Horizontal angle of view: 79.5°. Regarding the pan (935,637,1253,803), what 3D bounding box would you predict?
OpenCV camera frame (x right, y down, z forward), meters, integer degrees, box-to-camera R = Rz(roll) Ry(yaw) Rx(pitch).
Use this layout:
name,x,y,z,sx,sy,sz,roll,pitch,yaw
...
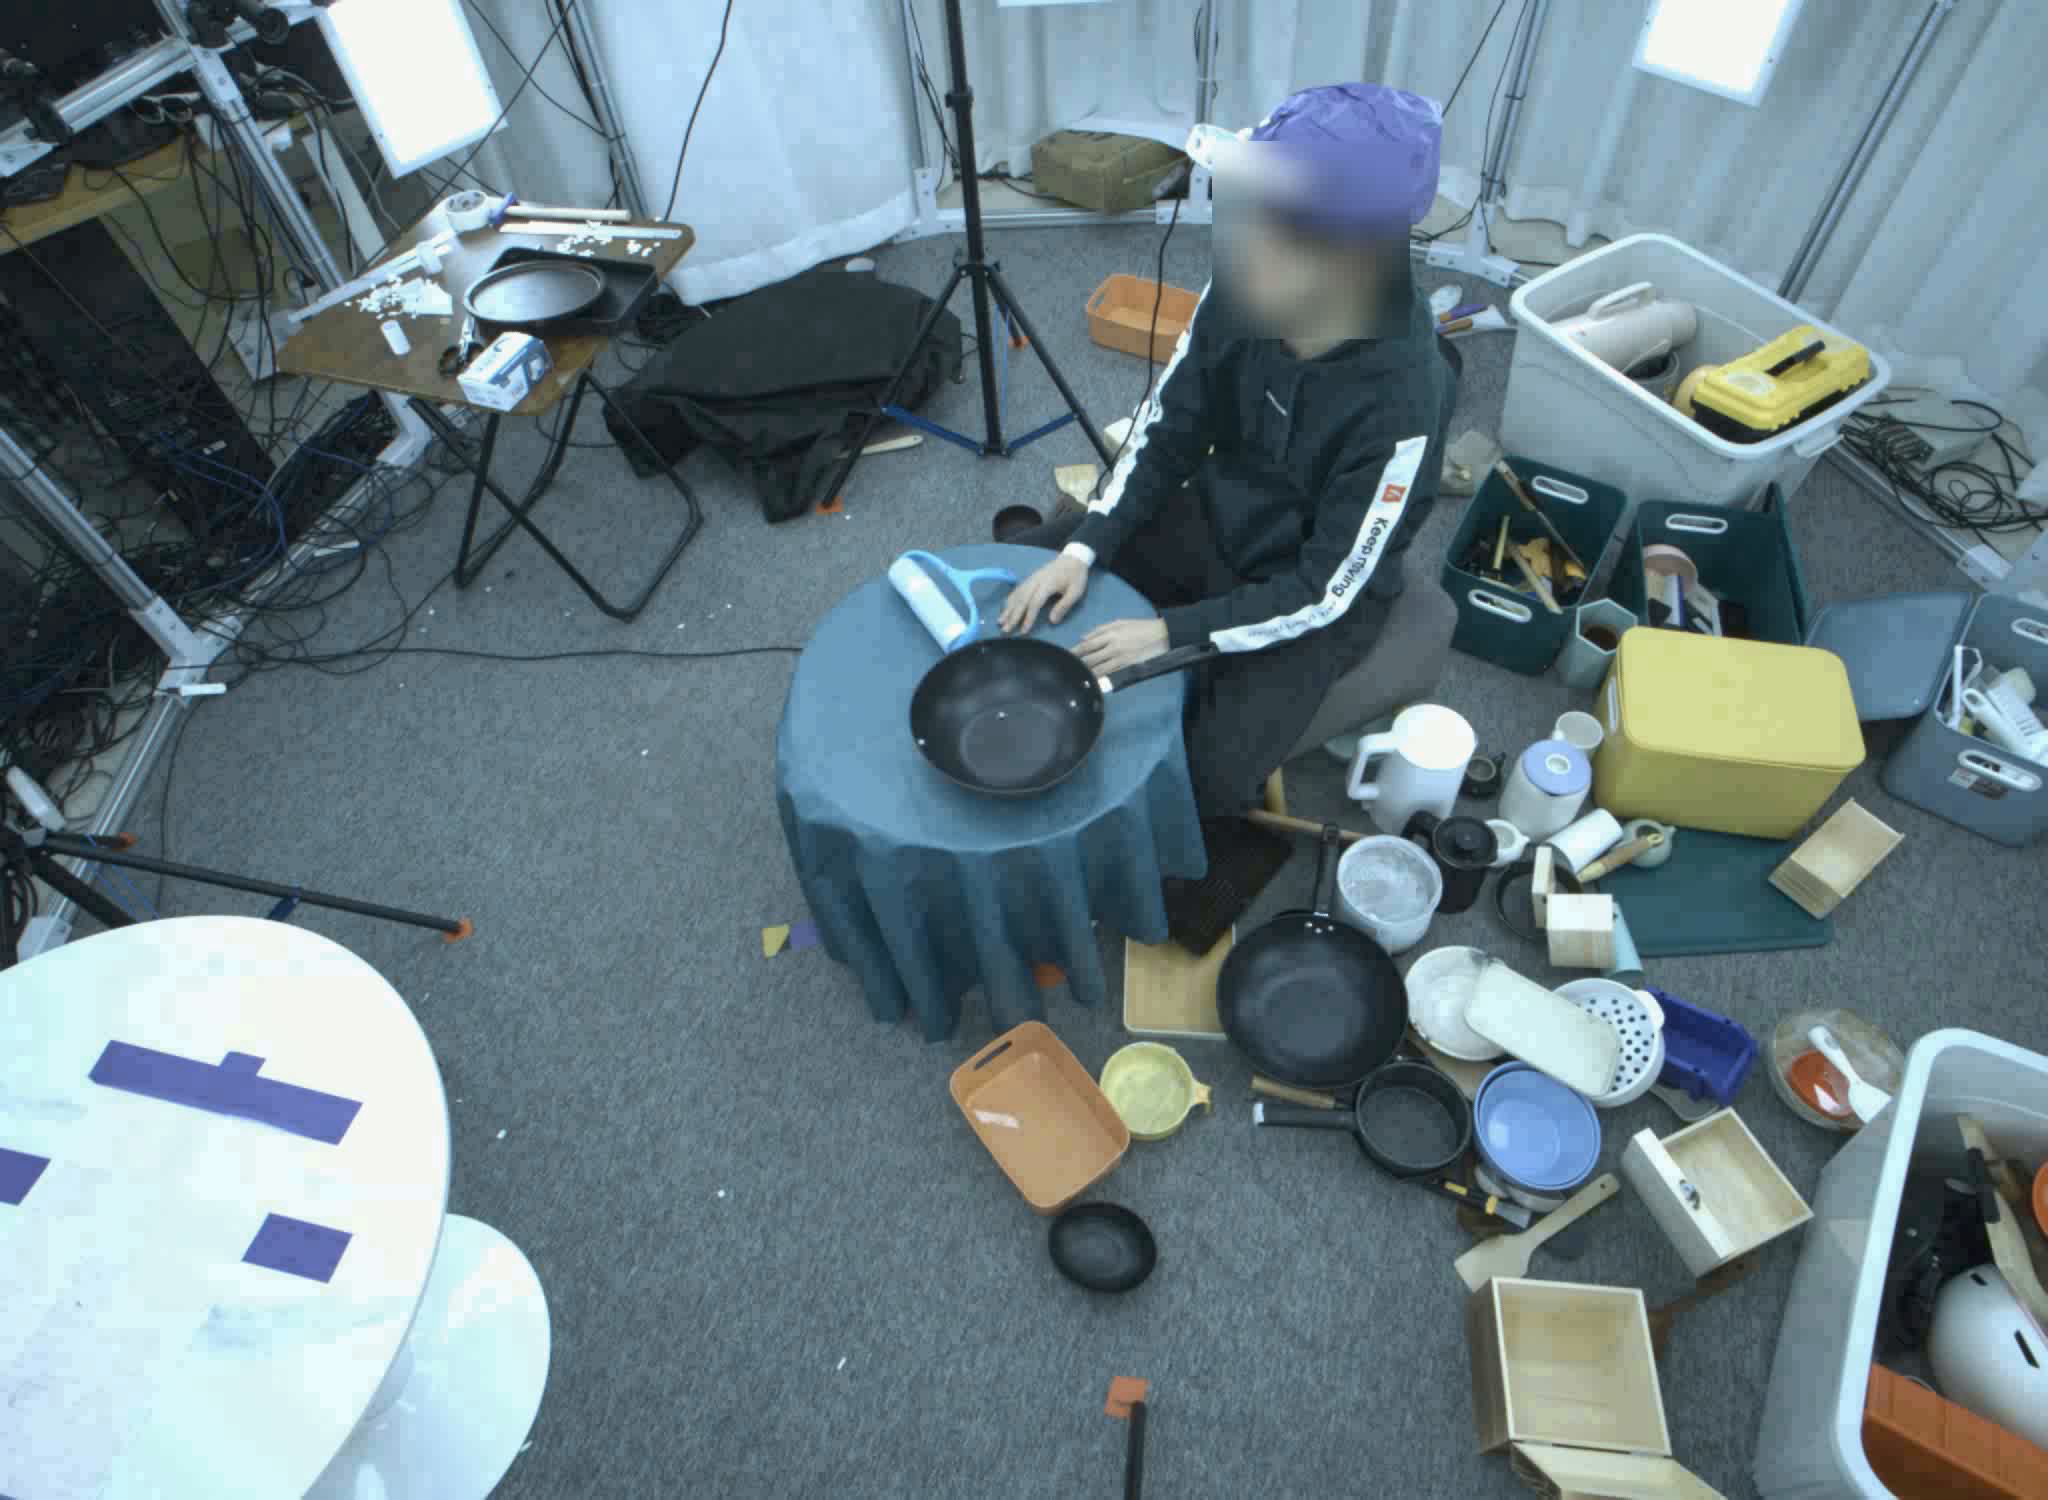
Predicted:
name,x,y,z,sx,sy,sz,roll,pitch,yaw
pan,0.104,-0.053,1.767,0.466,0.088,0.283,-15,56,-9

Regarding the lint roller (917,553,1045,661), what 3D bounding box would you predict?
name,x,y,z,sx,sy,sz,roll,pitch,yaw
lint roller,-0.049,-0.249,1.927,0.181,0.069,0.224,-30,57,-16
